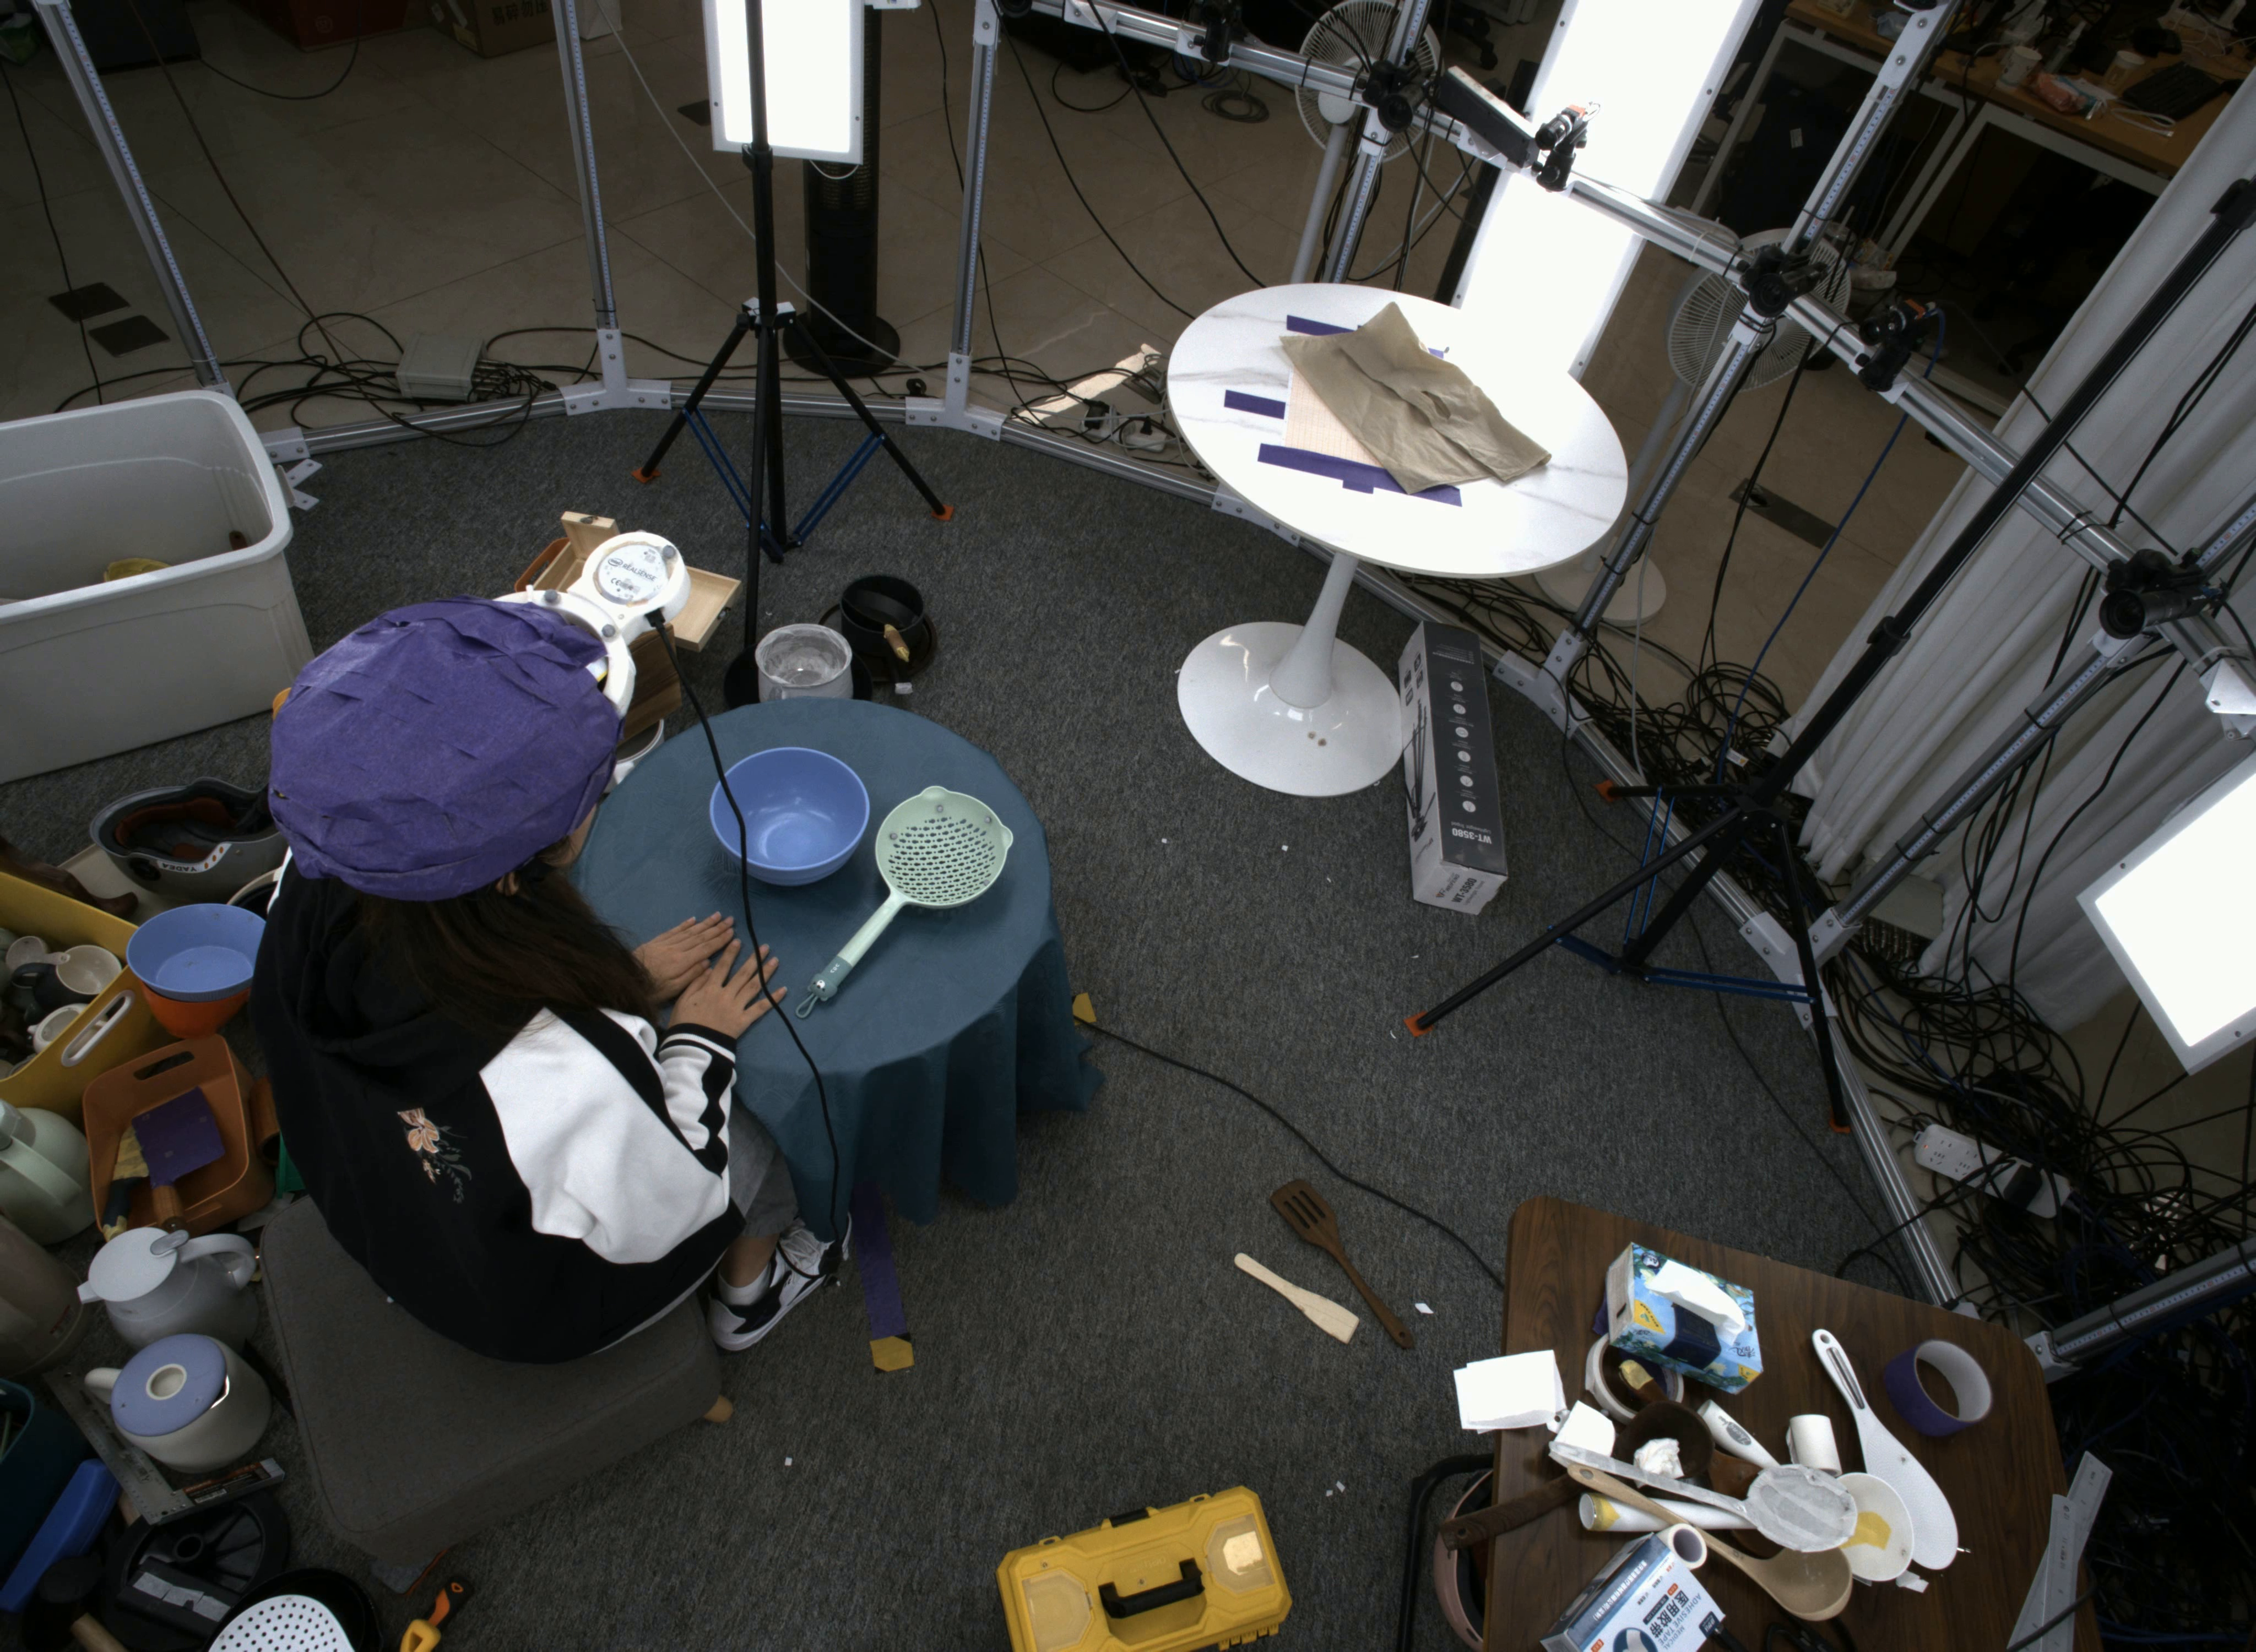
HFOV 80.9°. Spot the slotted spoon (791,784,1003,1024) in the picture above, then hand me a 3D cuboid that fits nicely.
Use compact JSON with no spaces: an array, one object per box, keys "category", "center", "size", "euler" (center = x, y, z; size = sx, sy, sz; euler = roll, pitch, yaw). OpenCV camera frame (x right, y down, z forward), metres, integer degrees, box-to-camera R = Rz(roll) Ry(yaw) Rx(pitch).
[{"category":"slotted spoon","center":[-0.305,0.100,1.638],"size":[0.166,0.077,0.358],"euler":[31,54,11]}]

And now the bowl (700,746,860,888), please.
[{"category":"bowl","center":[-0.441,0.003,1.651],"size":[0.196,0.097,0.193],"euler":[8,52,-9]}]
